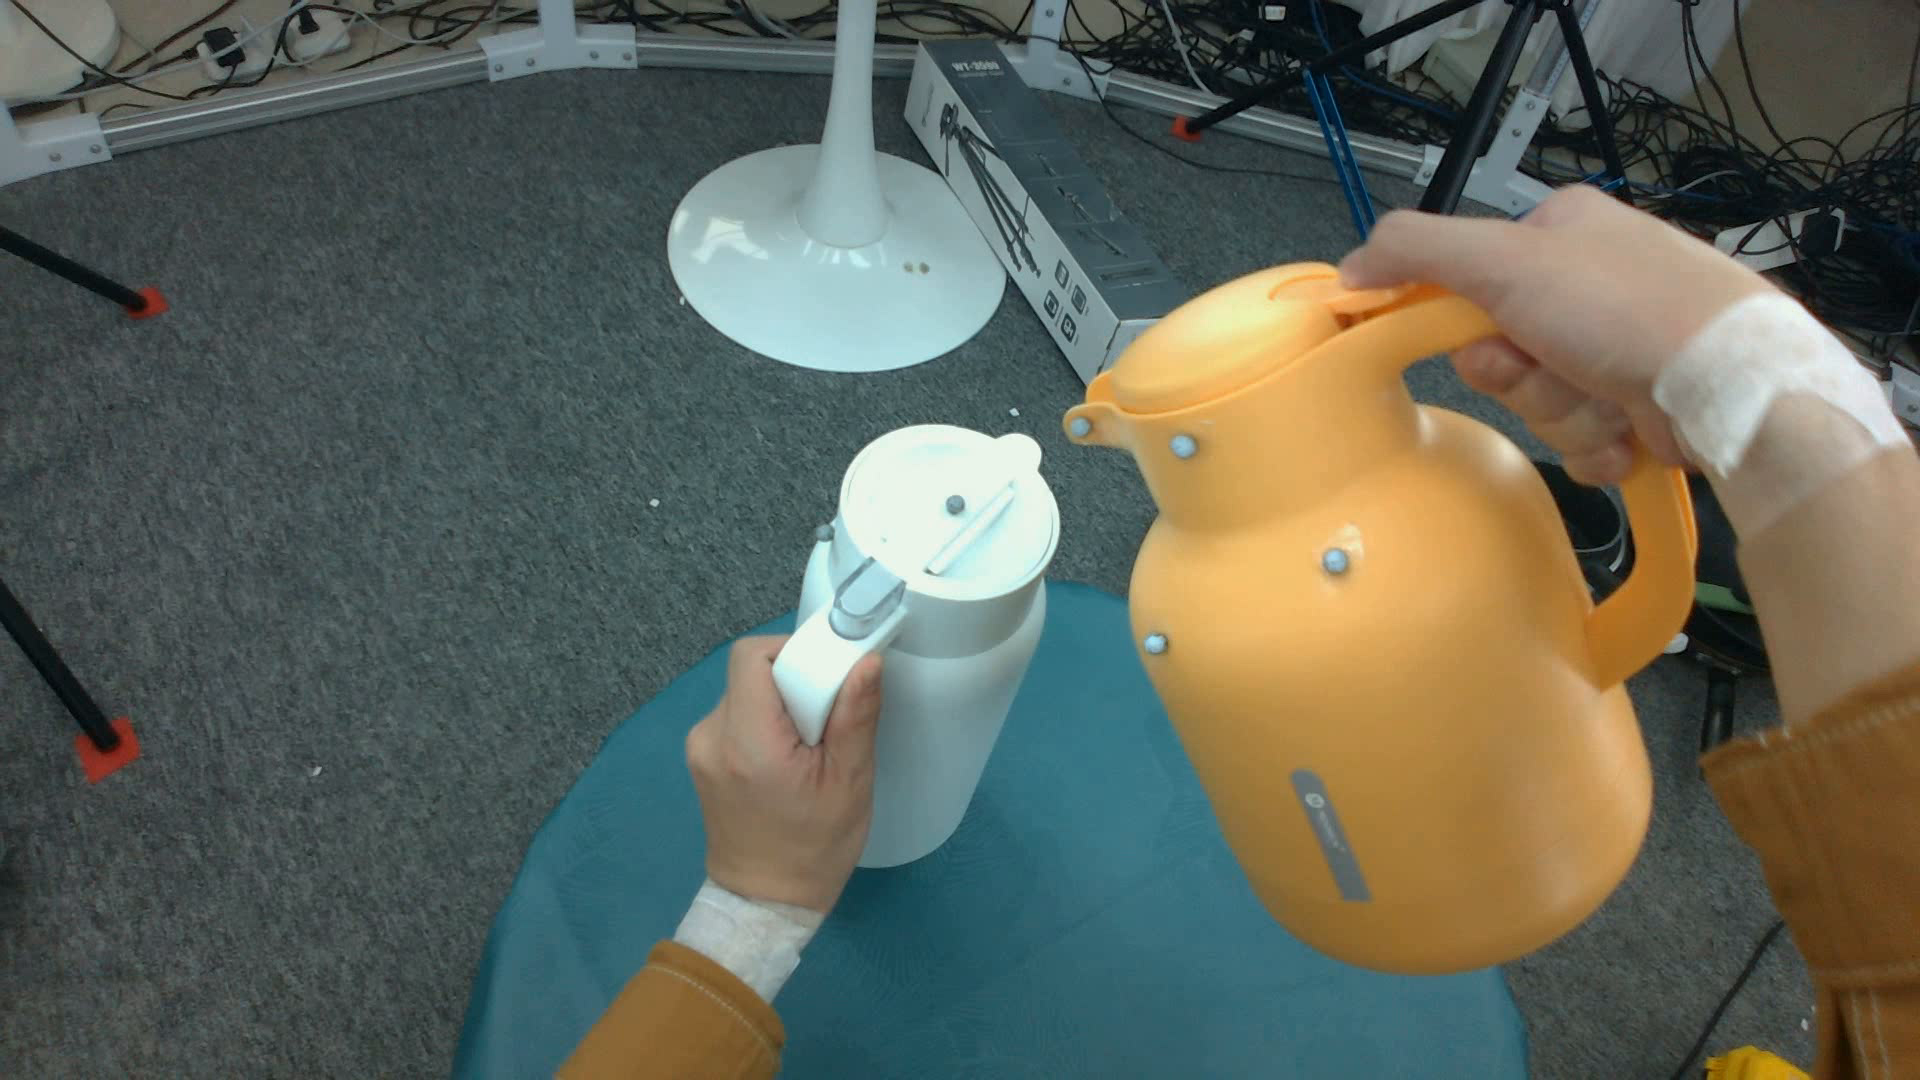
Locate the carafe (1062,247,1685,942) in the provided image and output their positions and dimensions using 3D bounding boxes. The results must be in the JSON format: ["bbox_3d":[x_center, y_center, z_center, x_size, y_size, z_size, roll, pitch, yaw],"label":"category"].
[{"bbox_3d":[0.163,0.016,0.516,0.201,0.260,0.164,-11,31,39],"label":"carafe"}]

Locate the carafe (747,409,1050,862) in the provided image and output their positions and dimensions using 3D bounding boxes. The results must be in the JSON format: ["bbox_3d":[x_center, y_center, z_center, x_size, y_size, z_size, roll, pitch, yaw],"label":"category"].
[{"bbox_3d":[-0.040,0.069,0.692,0.124,0.267,0.173,34,54,11],"label":"carafe"}]
